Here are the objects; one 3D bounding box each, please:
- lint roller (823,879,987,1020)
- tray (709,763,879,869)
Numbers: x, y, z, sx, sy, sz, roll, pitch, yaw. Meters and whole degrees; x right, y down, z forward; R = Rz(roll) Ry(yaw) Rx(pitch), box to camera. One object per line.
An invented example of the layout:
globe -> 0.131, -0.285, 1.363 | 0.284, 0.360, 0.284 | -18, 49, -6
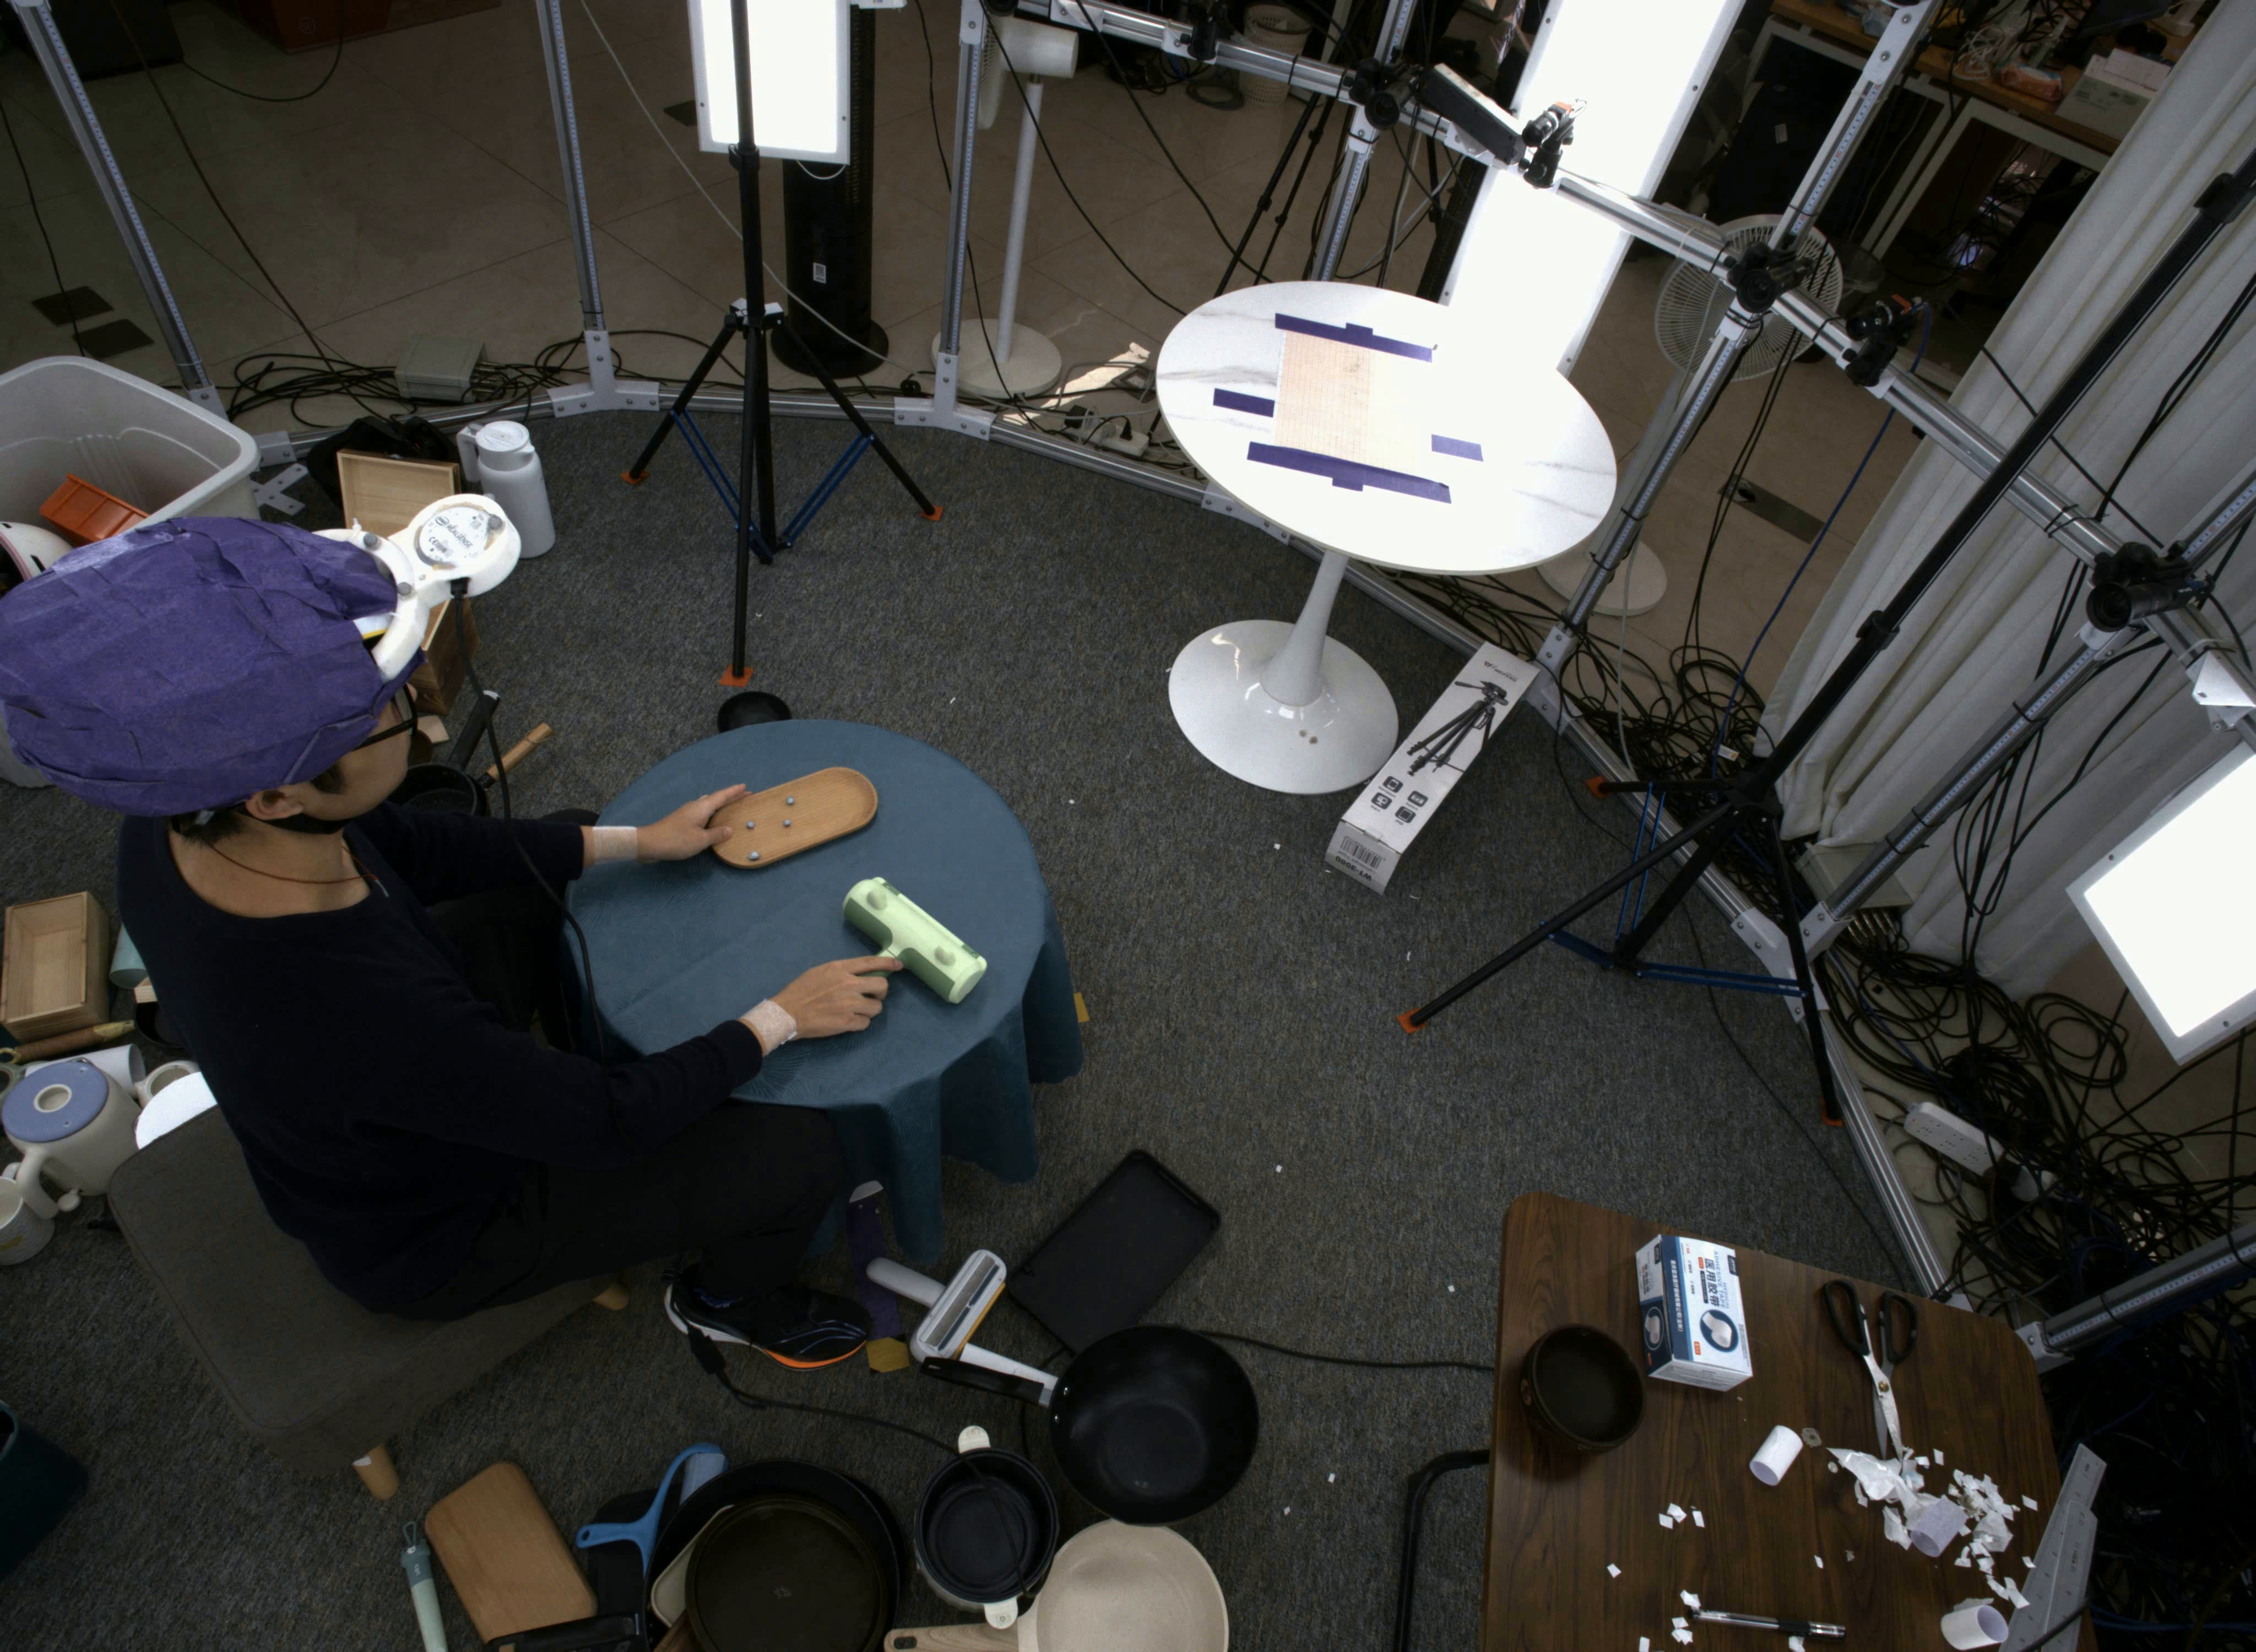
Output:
lint roller -> -0.297, 0.159, 1.567 | 0.194, 0.084, 0.183 | 35, 43, 14
tray -> -0.437, -0.014, 1.703 | 0.232, 0.020, 0.100 | -23, 73, -31
